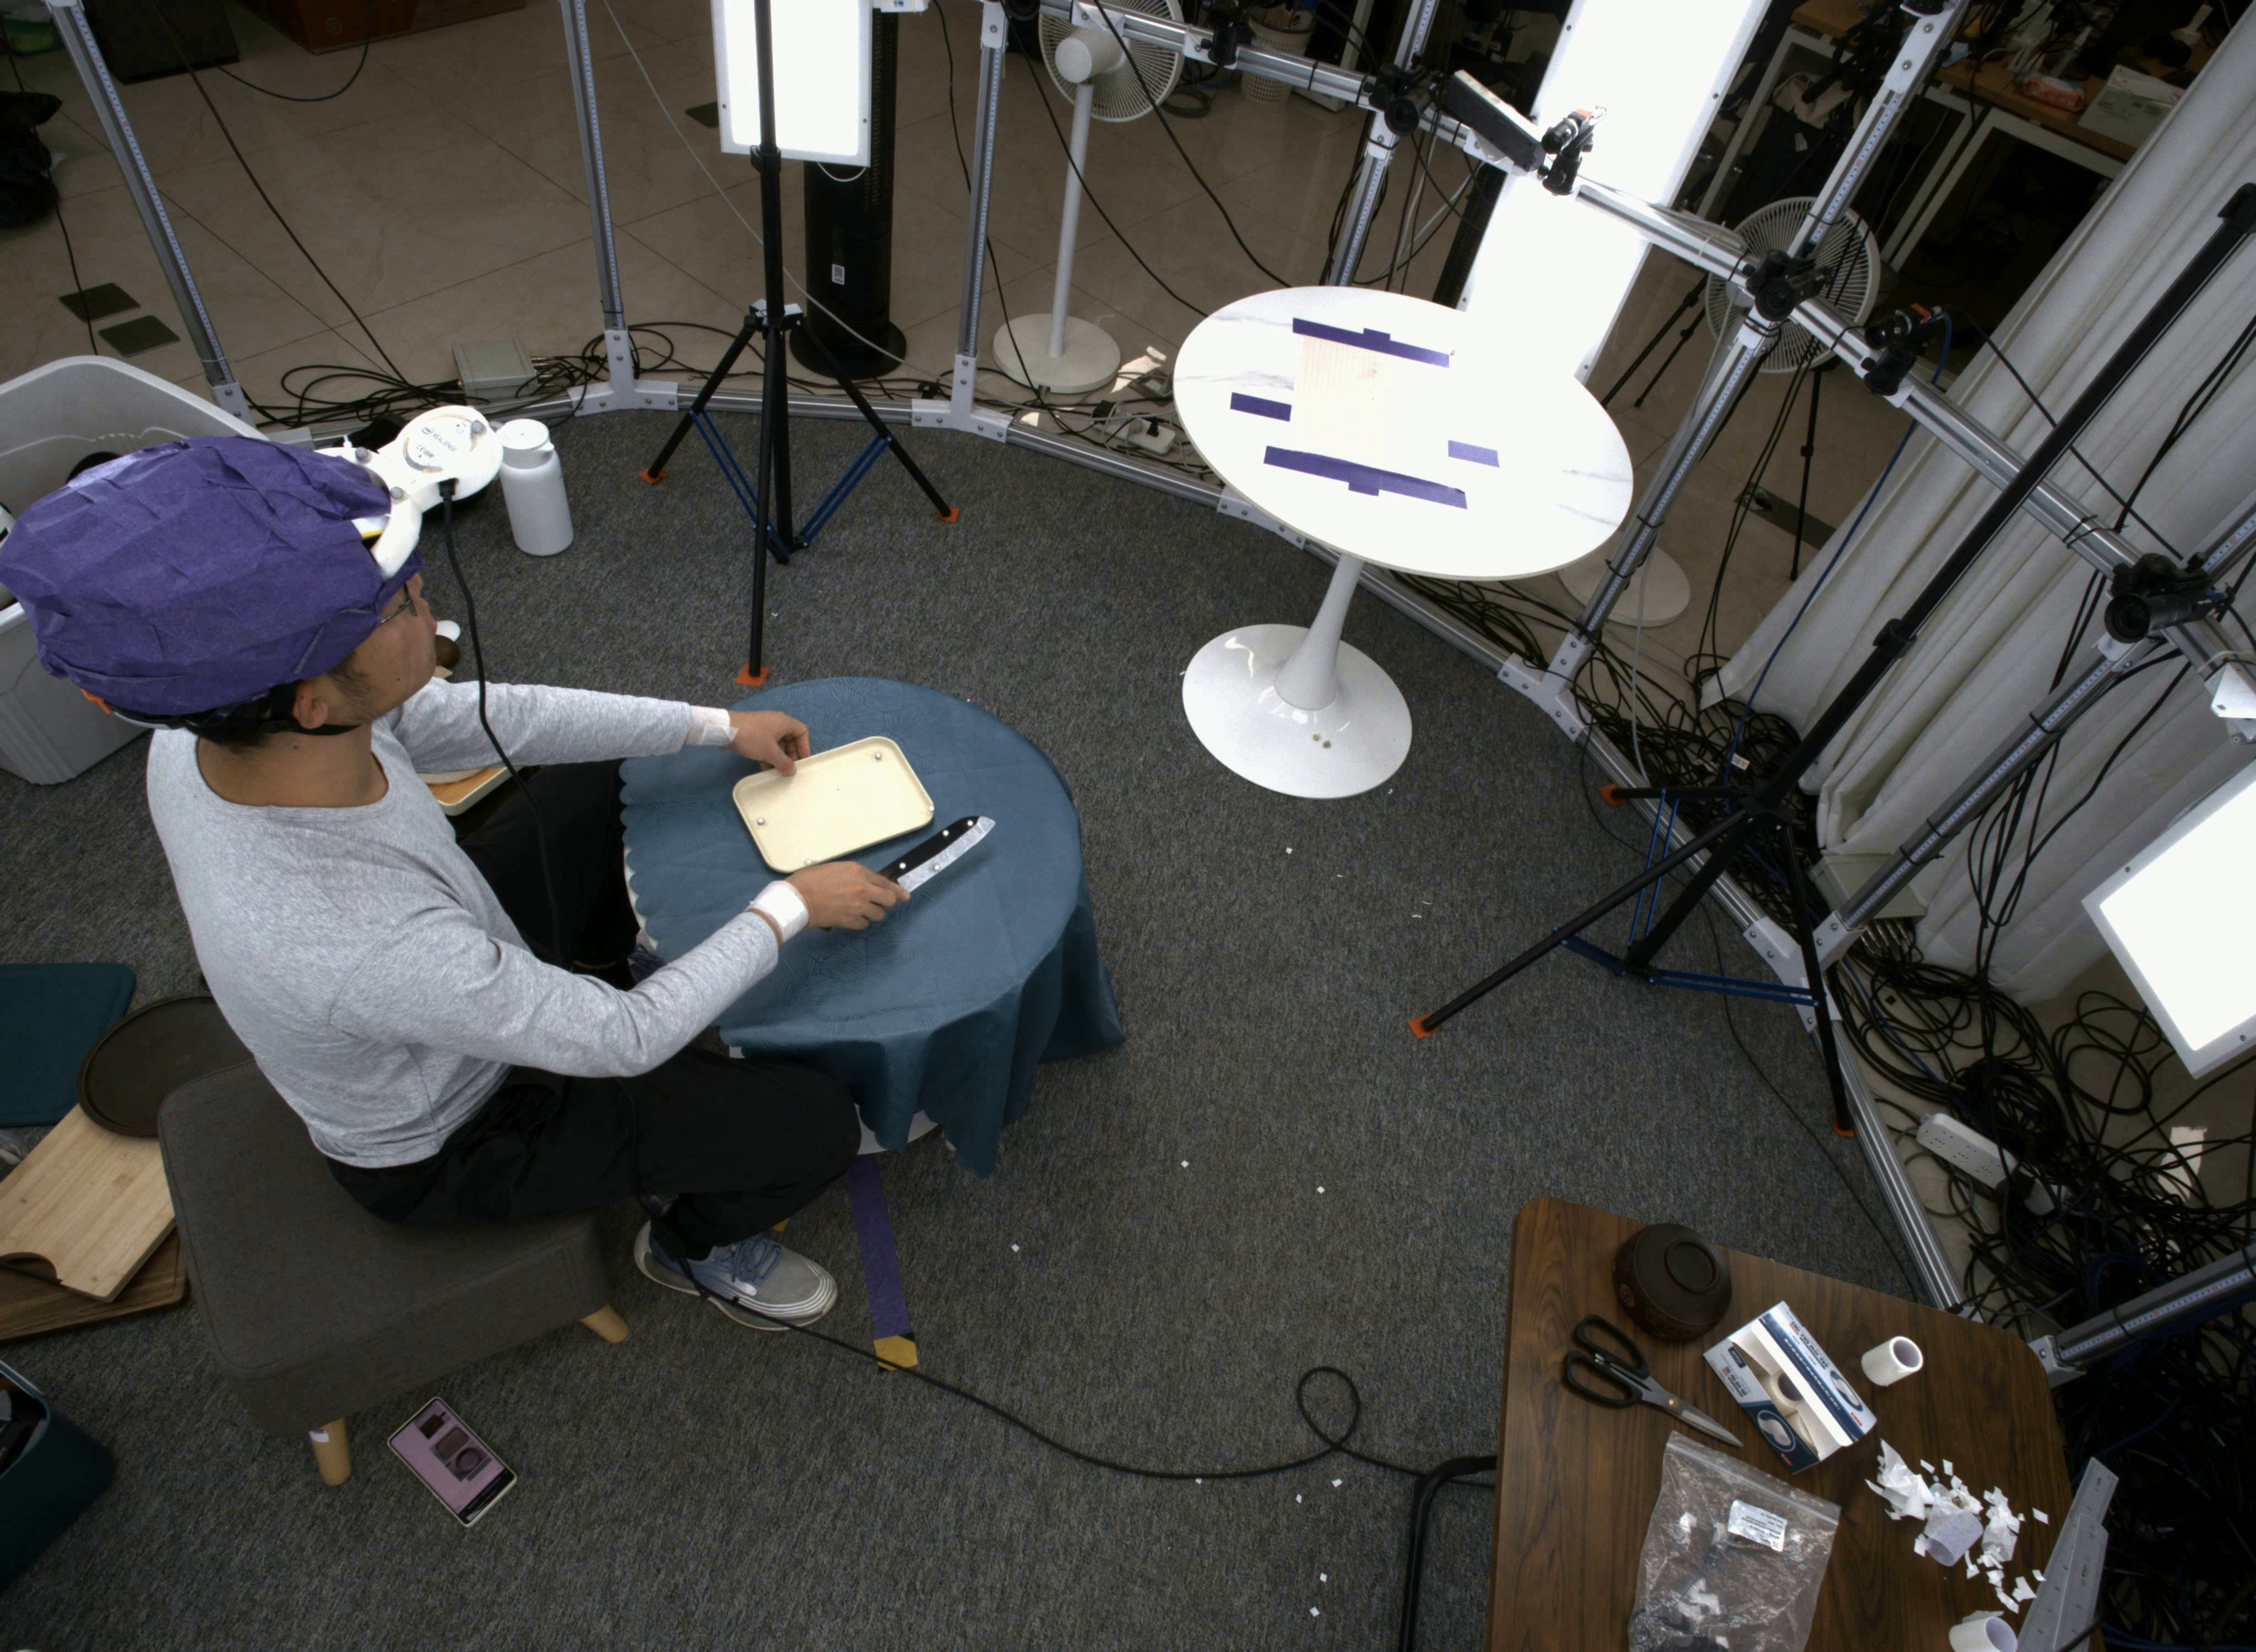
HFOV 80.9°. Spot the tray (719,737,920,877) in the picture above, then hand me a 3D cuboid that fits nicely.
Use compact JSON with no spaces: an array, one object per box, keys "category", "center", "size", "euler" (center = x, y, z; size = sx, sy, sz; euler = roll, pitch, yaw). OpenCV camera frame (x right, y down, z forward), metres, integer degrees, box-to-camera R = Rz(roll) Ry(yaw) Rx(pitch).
[{"category":"tray","center":[-0.414,-0.028,1.747],"size":[0.241,0.018,0.167],"euler":[-22,62,-27]}]

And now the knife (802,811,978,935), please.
[{"category":"knife","center":[-0.298,0.055,1.664],"size":[0.290,0.019,0.051],"euler":[-36,105,-36]}]
